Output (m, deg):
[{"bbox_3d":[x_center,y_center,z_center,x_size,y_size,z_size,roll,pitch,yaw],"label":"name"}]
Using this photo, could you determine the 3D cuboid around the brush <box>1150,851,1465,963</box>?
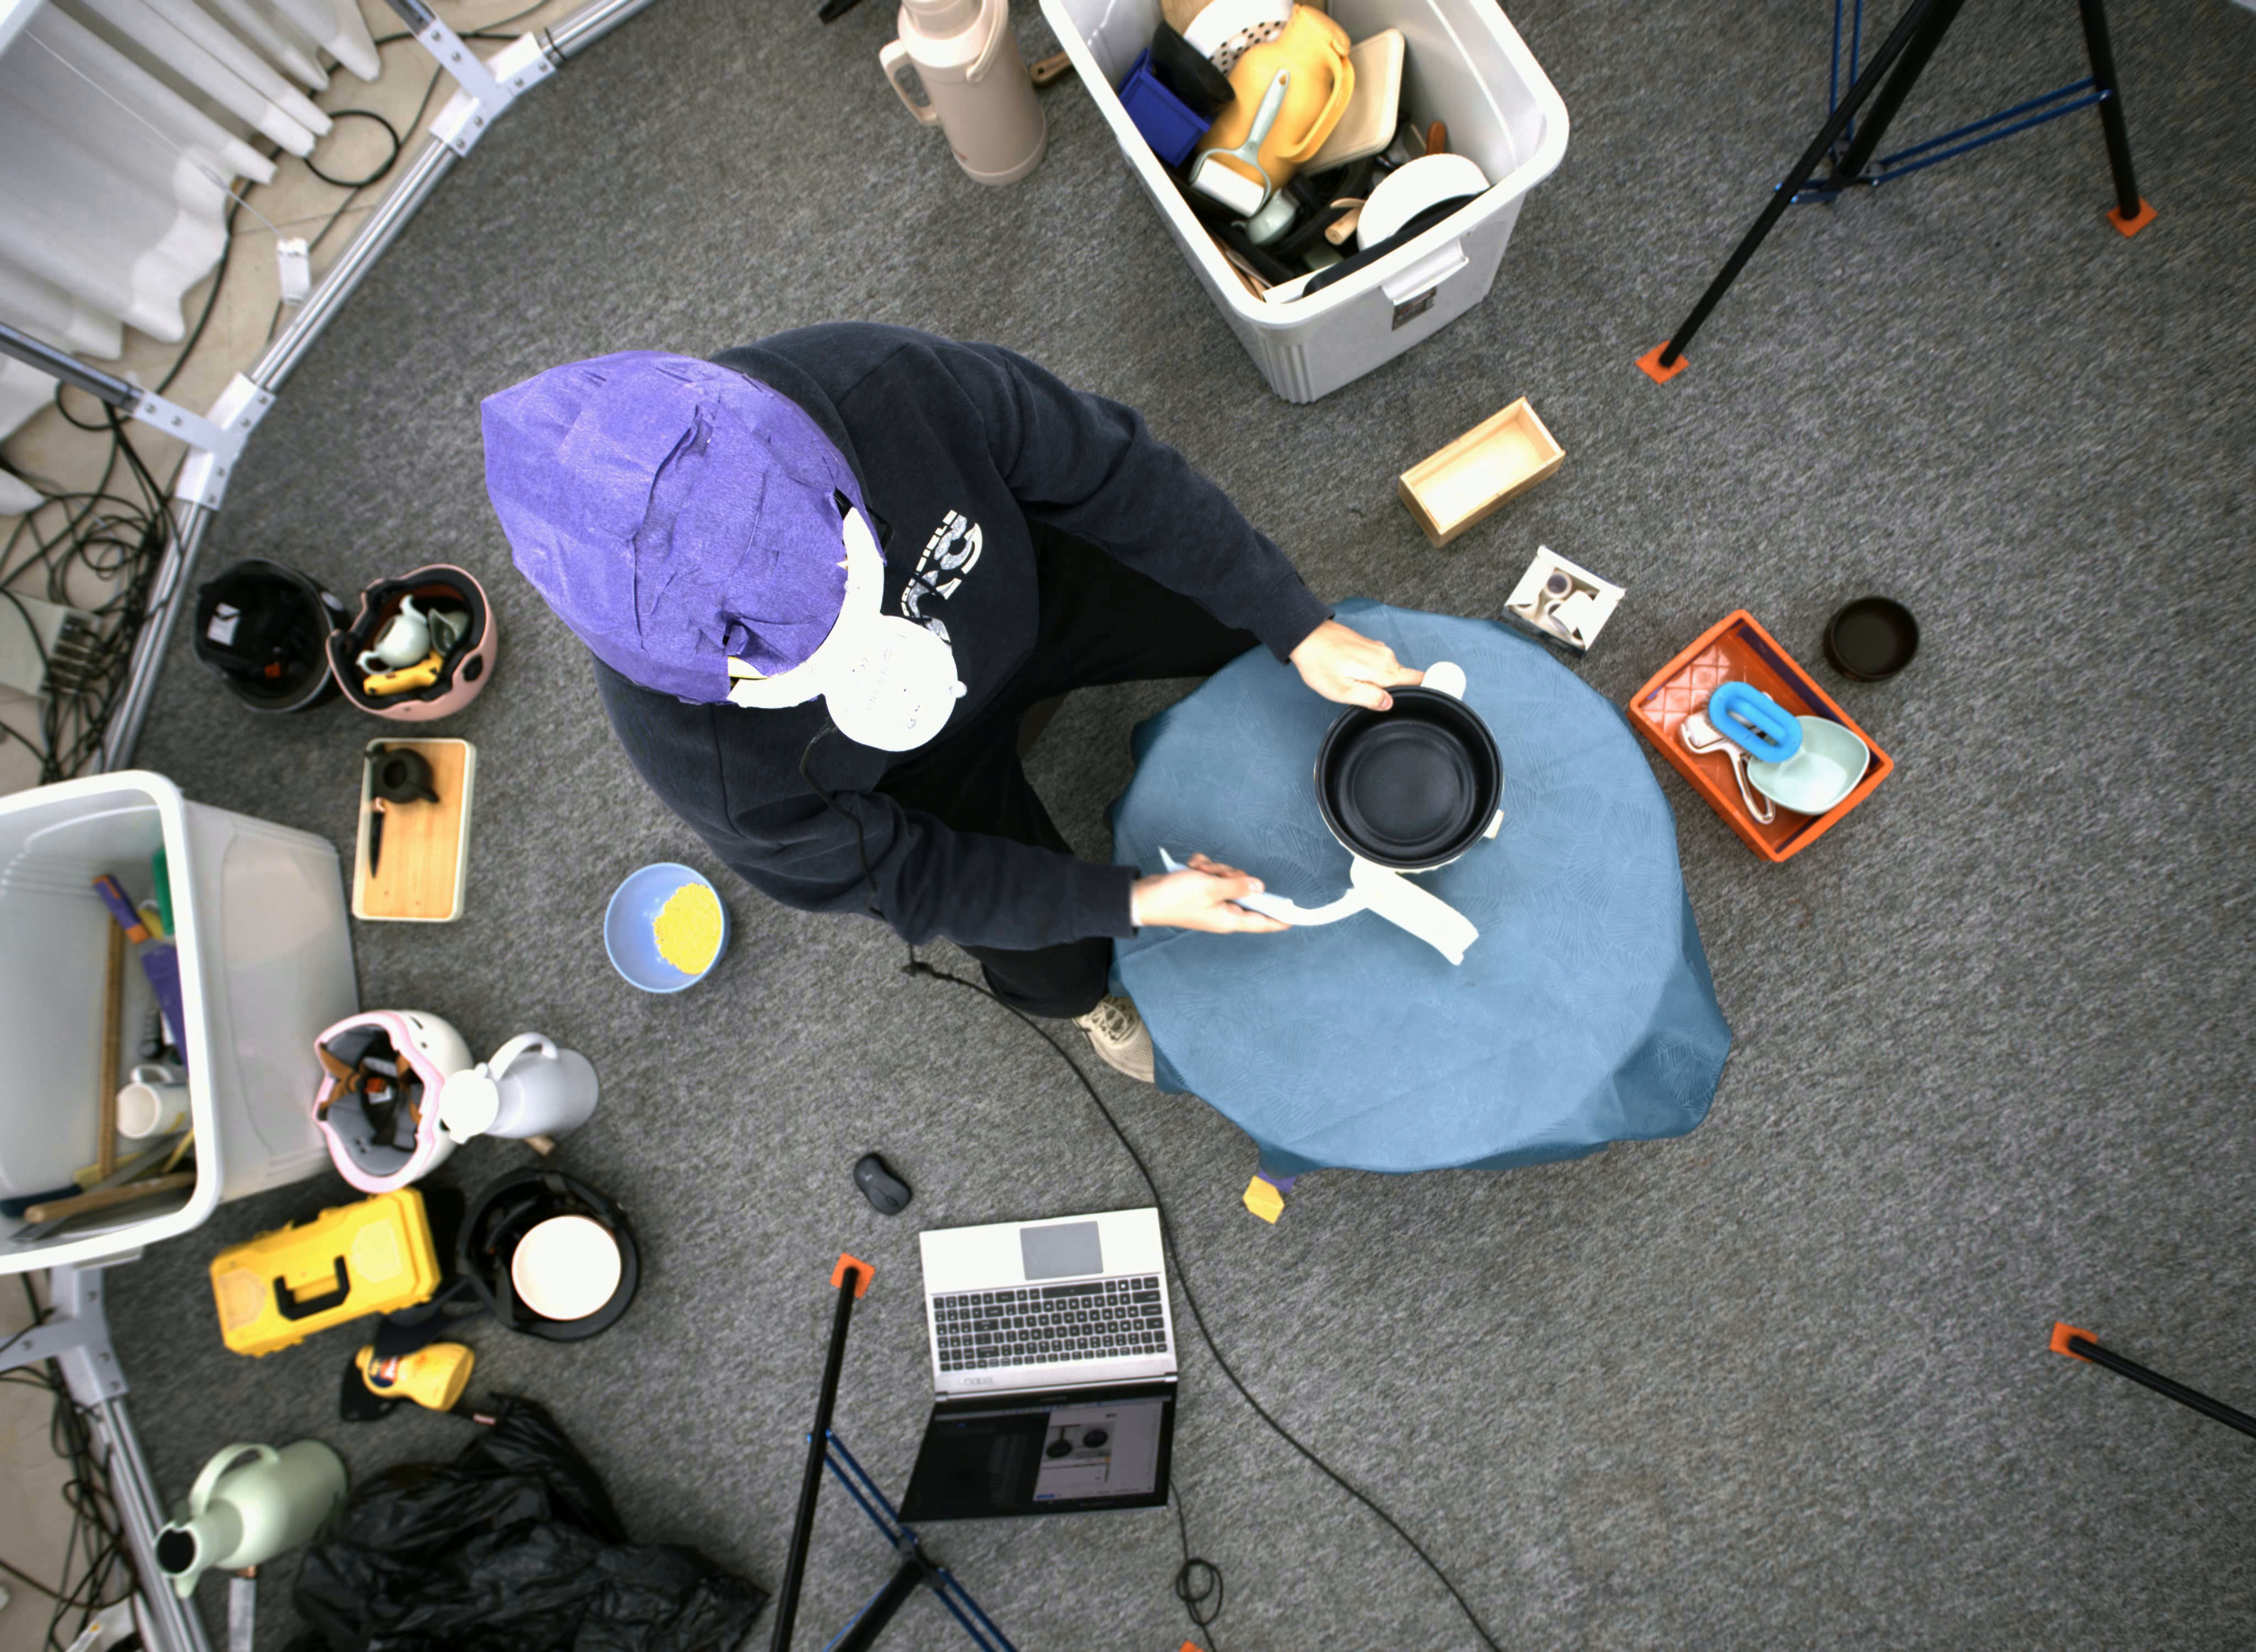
[{"bbox_3d":[0.184,0.051,1.391,0.326,0.085,0.082,18,52,4],"label":"brush"}]

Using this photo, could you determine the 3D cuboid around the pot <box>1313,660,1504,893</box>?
[{"bbox_3d":[0.287,-0.042,1.394,0.190,0.142,0.240,21,91,14],"label":"pot"}]
